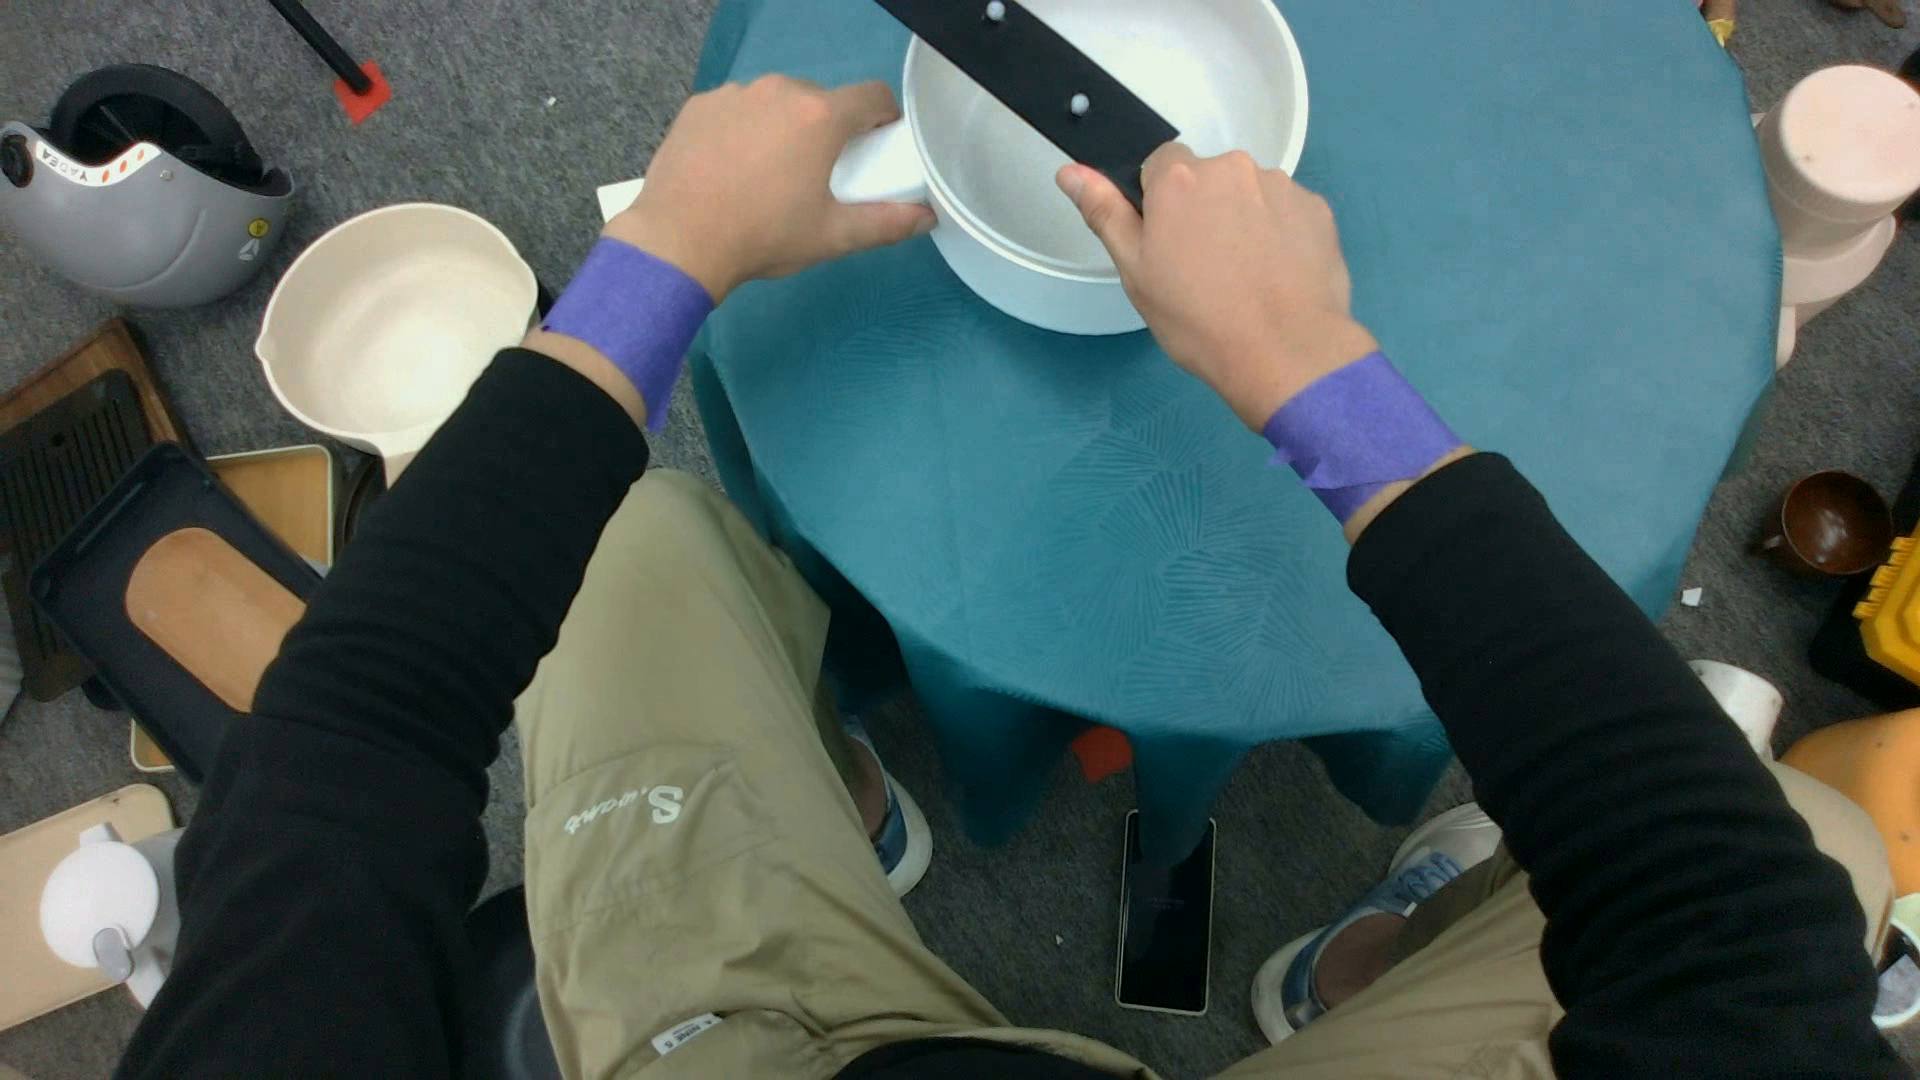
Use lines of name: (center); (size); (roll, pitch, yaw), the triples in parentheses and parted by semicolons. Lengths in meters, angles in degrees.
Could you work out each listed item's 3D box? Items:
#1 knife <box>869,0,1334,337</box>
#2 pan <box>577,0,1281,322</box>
knife: (0.051, -0.197, 0.632); (0.302, 0.021, 0.081); (44, 53, 11)
pan: (-0.013, -0.196, 0.726); (0.355, 0.102, 0.201); (-16, 76, -4)
